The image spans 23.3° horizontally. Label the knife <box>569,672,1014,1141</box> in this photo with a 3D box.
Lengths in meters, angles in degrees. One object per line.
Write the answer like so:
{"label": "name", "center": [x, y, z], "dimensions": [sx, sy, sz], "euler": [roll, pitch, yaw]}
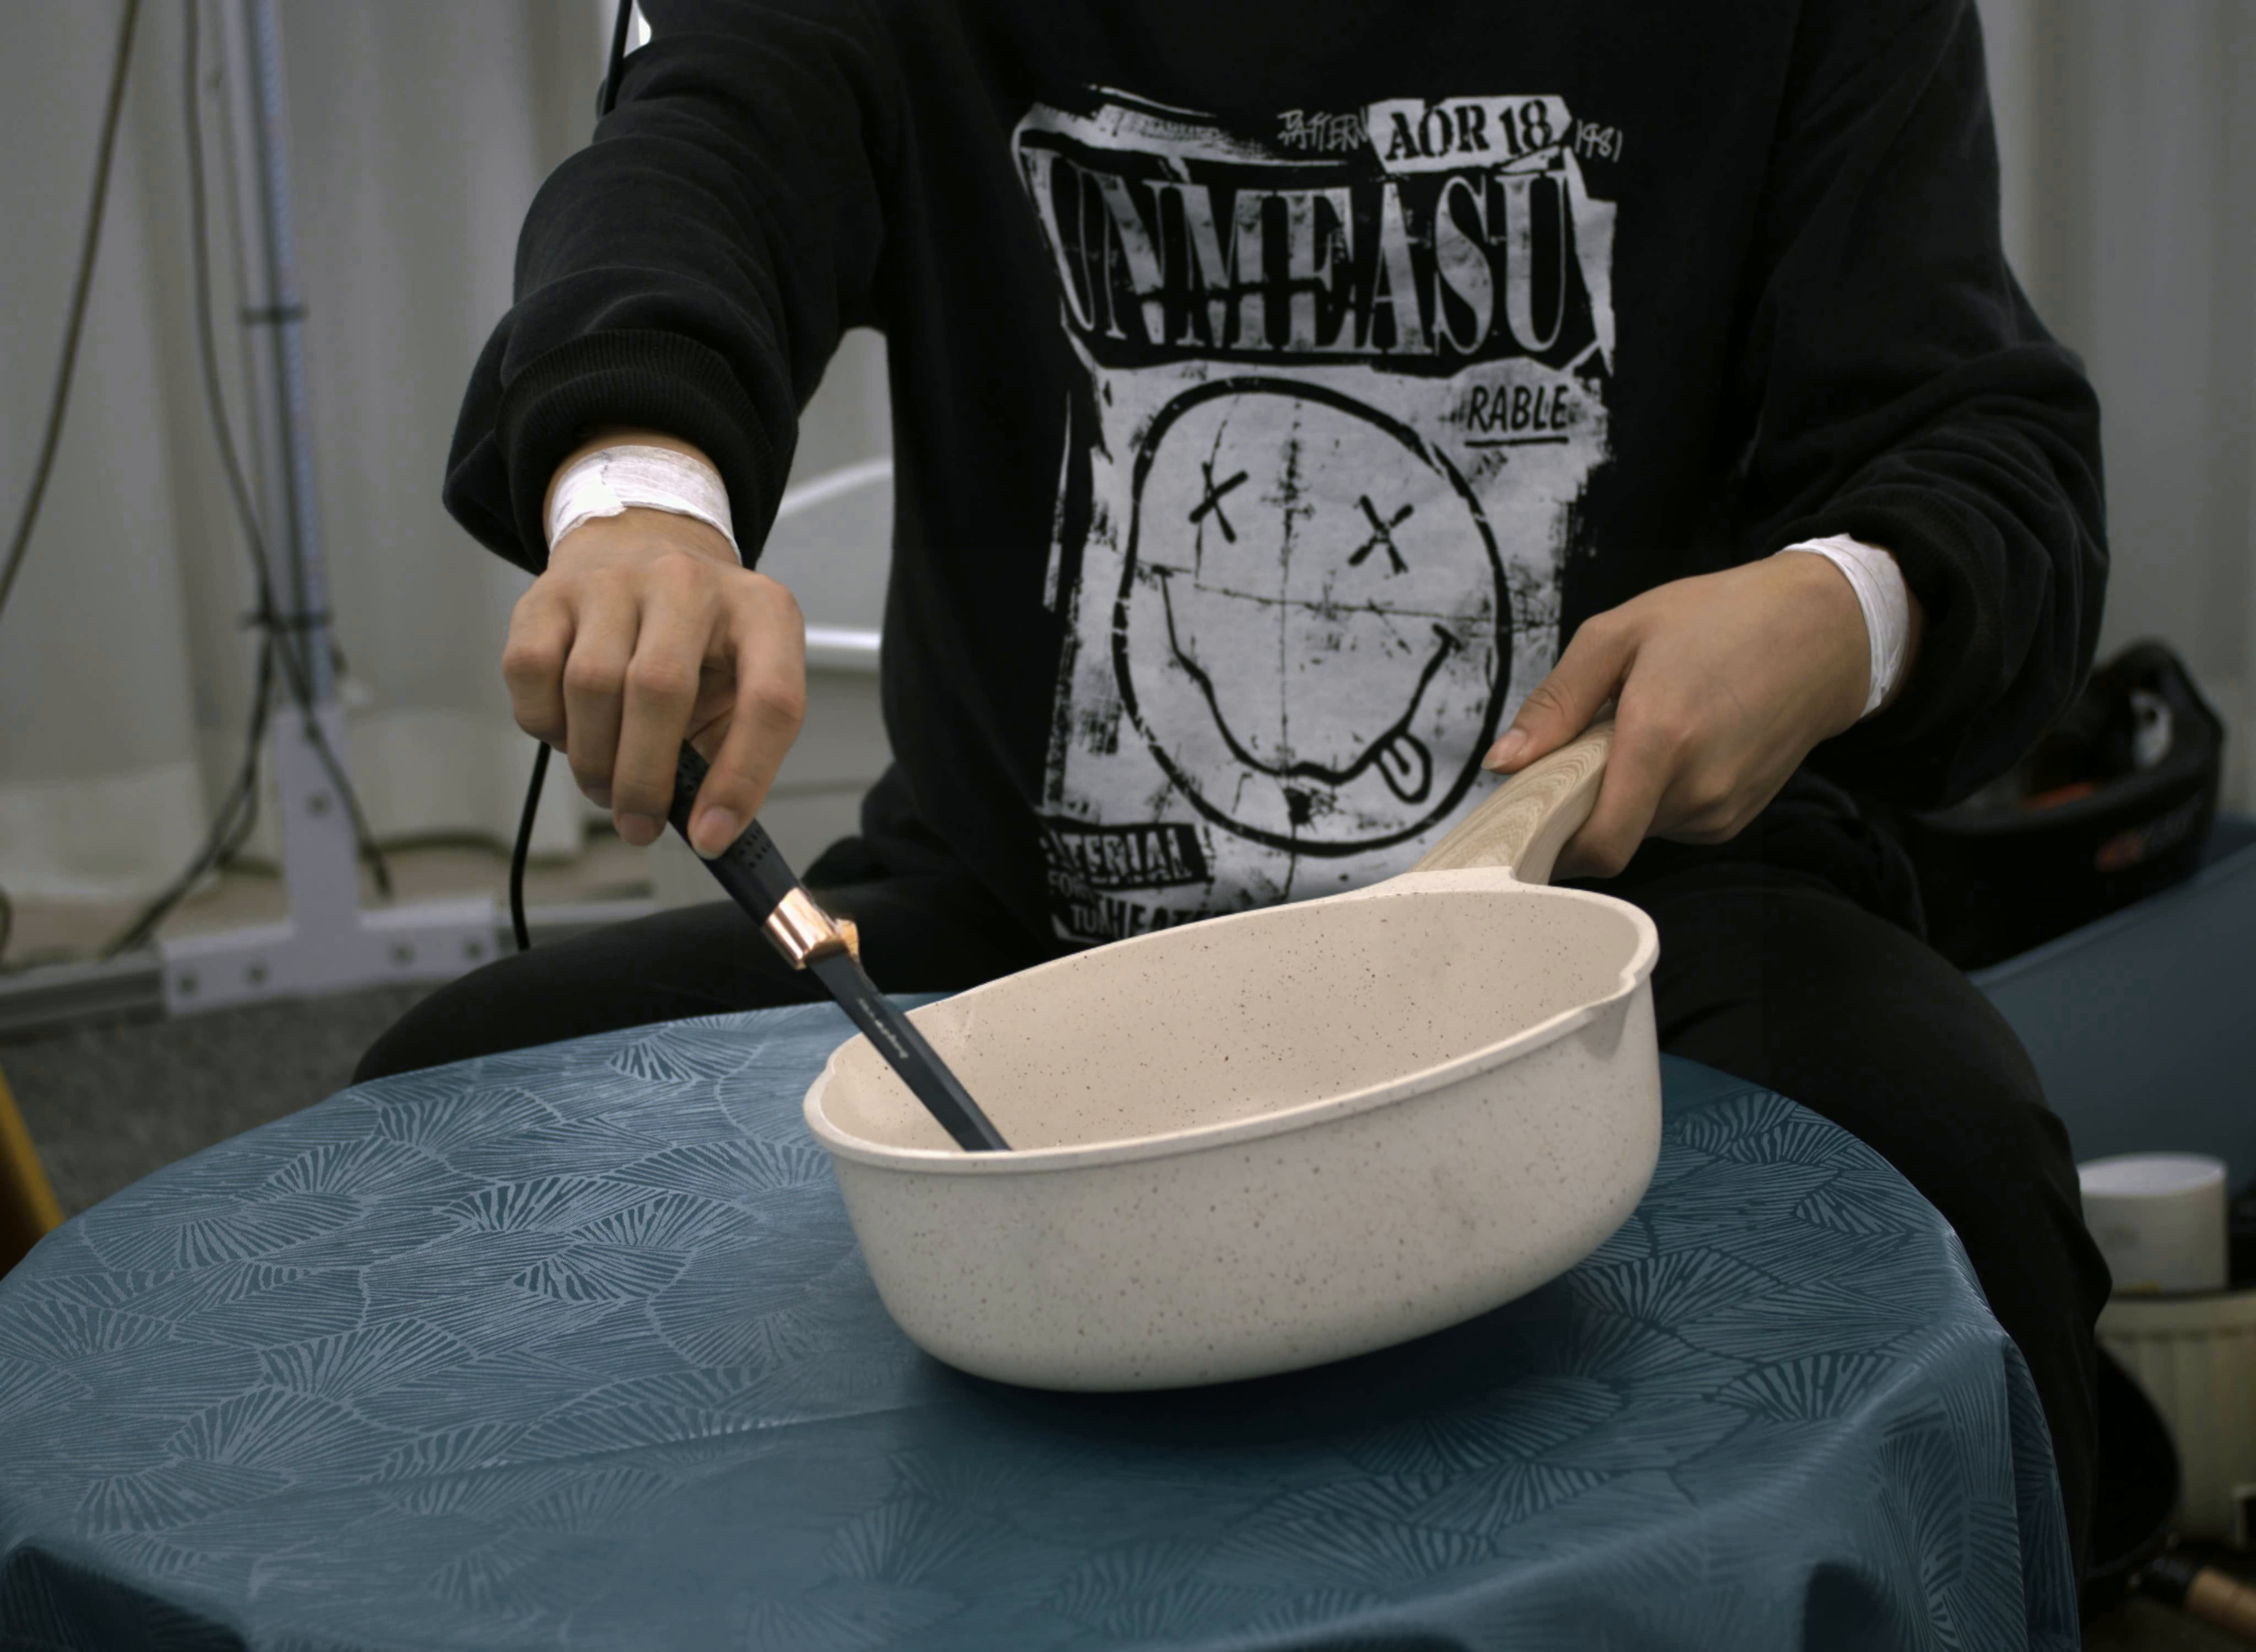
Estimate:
{"label": "knife", "center": [-0.083, 0.037, 1.531], "dimensions": [0.227, 0.017, 0.026], "euler": [47, 19, 19]}

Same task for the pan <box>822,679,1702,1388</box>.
{"label": "pan", "center": [0.086, 0.059, 1.650], "dimensions": [0.263, 0.102, 0.435], "euler": [-7, 12, 33]}
